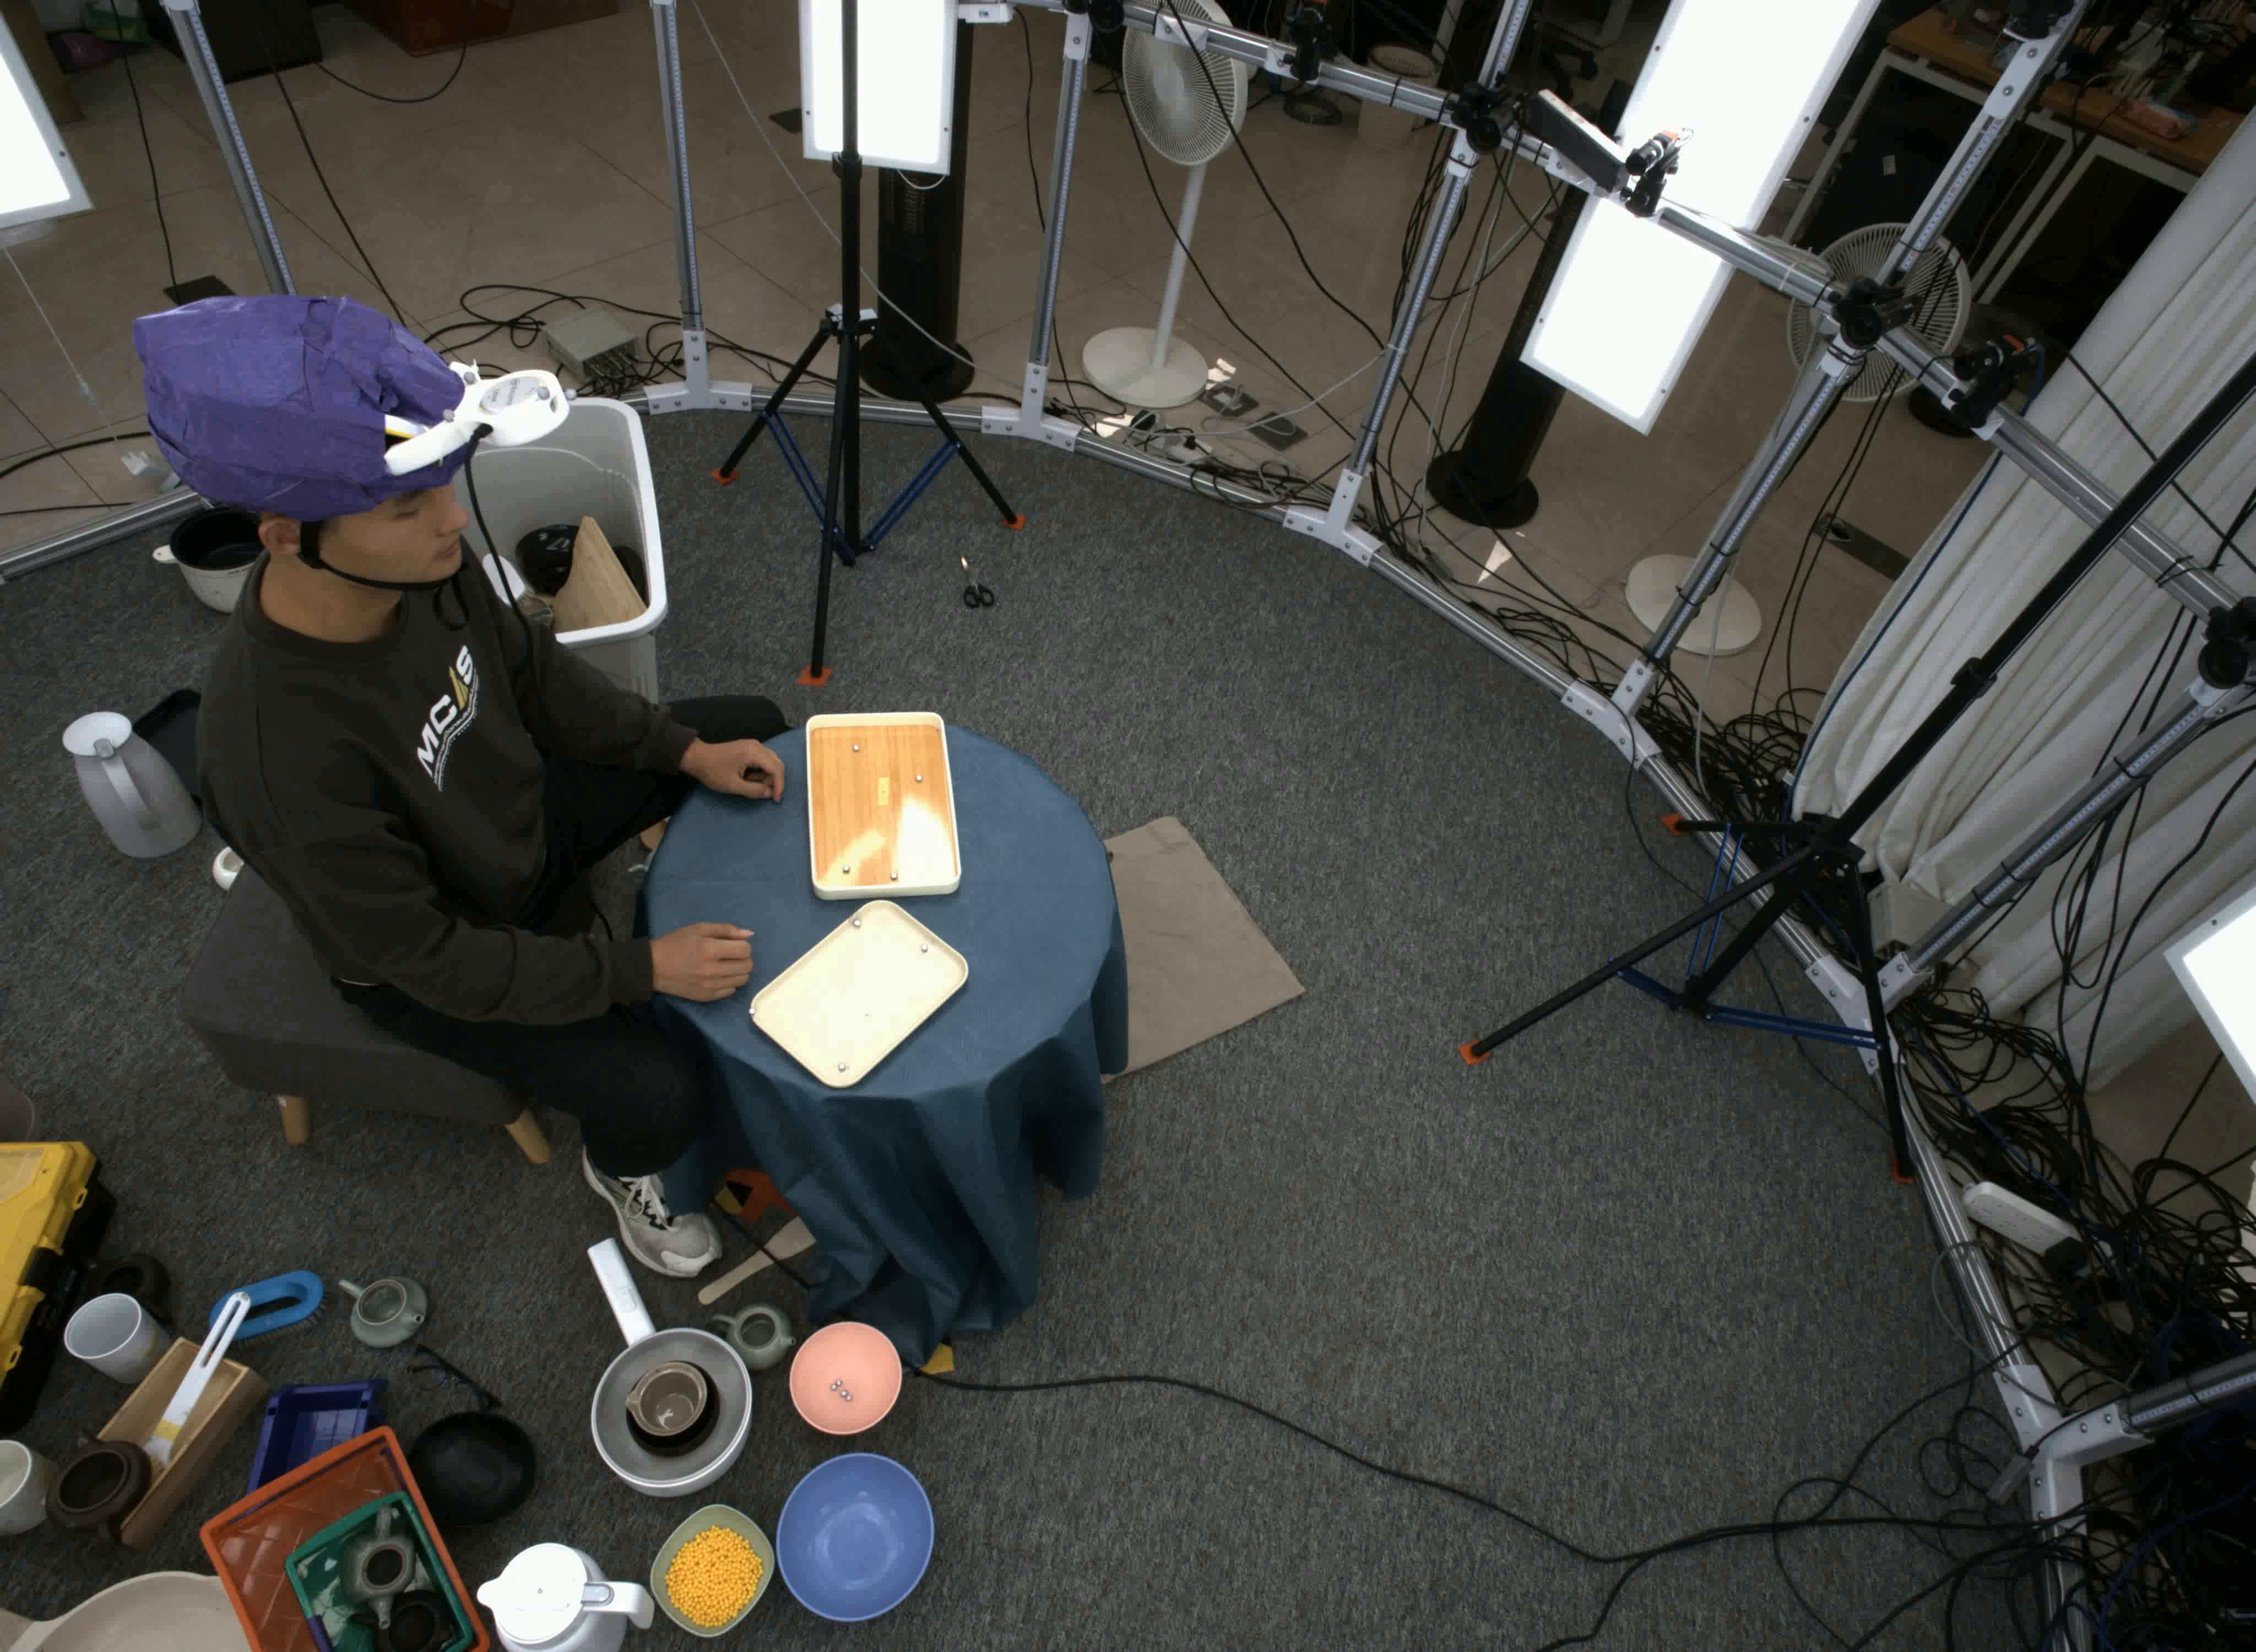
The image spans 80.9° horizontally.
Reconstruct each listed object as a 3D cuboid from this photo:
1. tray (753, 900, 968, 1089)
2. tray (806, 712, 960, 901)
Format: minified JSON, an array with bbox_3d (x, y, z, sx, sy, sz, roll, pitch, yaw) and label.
[{"bbox_3d":[-0.326,0.202,1.597,0.168,0.018,0.239,37,54,14],"label":"tray"},{"bbox_3d":[-0.336,-0.034,1.764,0.192,0.028,0.293,-2,54,-15],"label":"tray"}]
